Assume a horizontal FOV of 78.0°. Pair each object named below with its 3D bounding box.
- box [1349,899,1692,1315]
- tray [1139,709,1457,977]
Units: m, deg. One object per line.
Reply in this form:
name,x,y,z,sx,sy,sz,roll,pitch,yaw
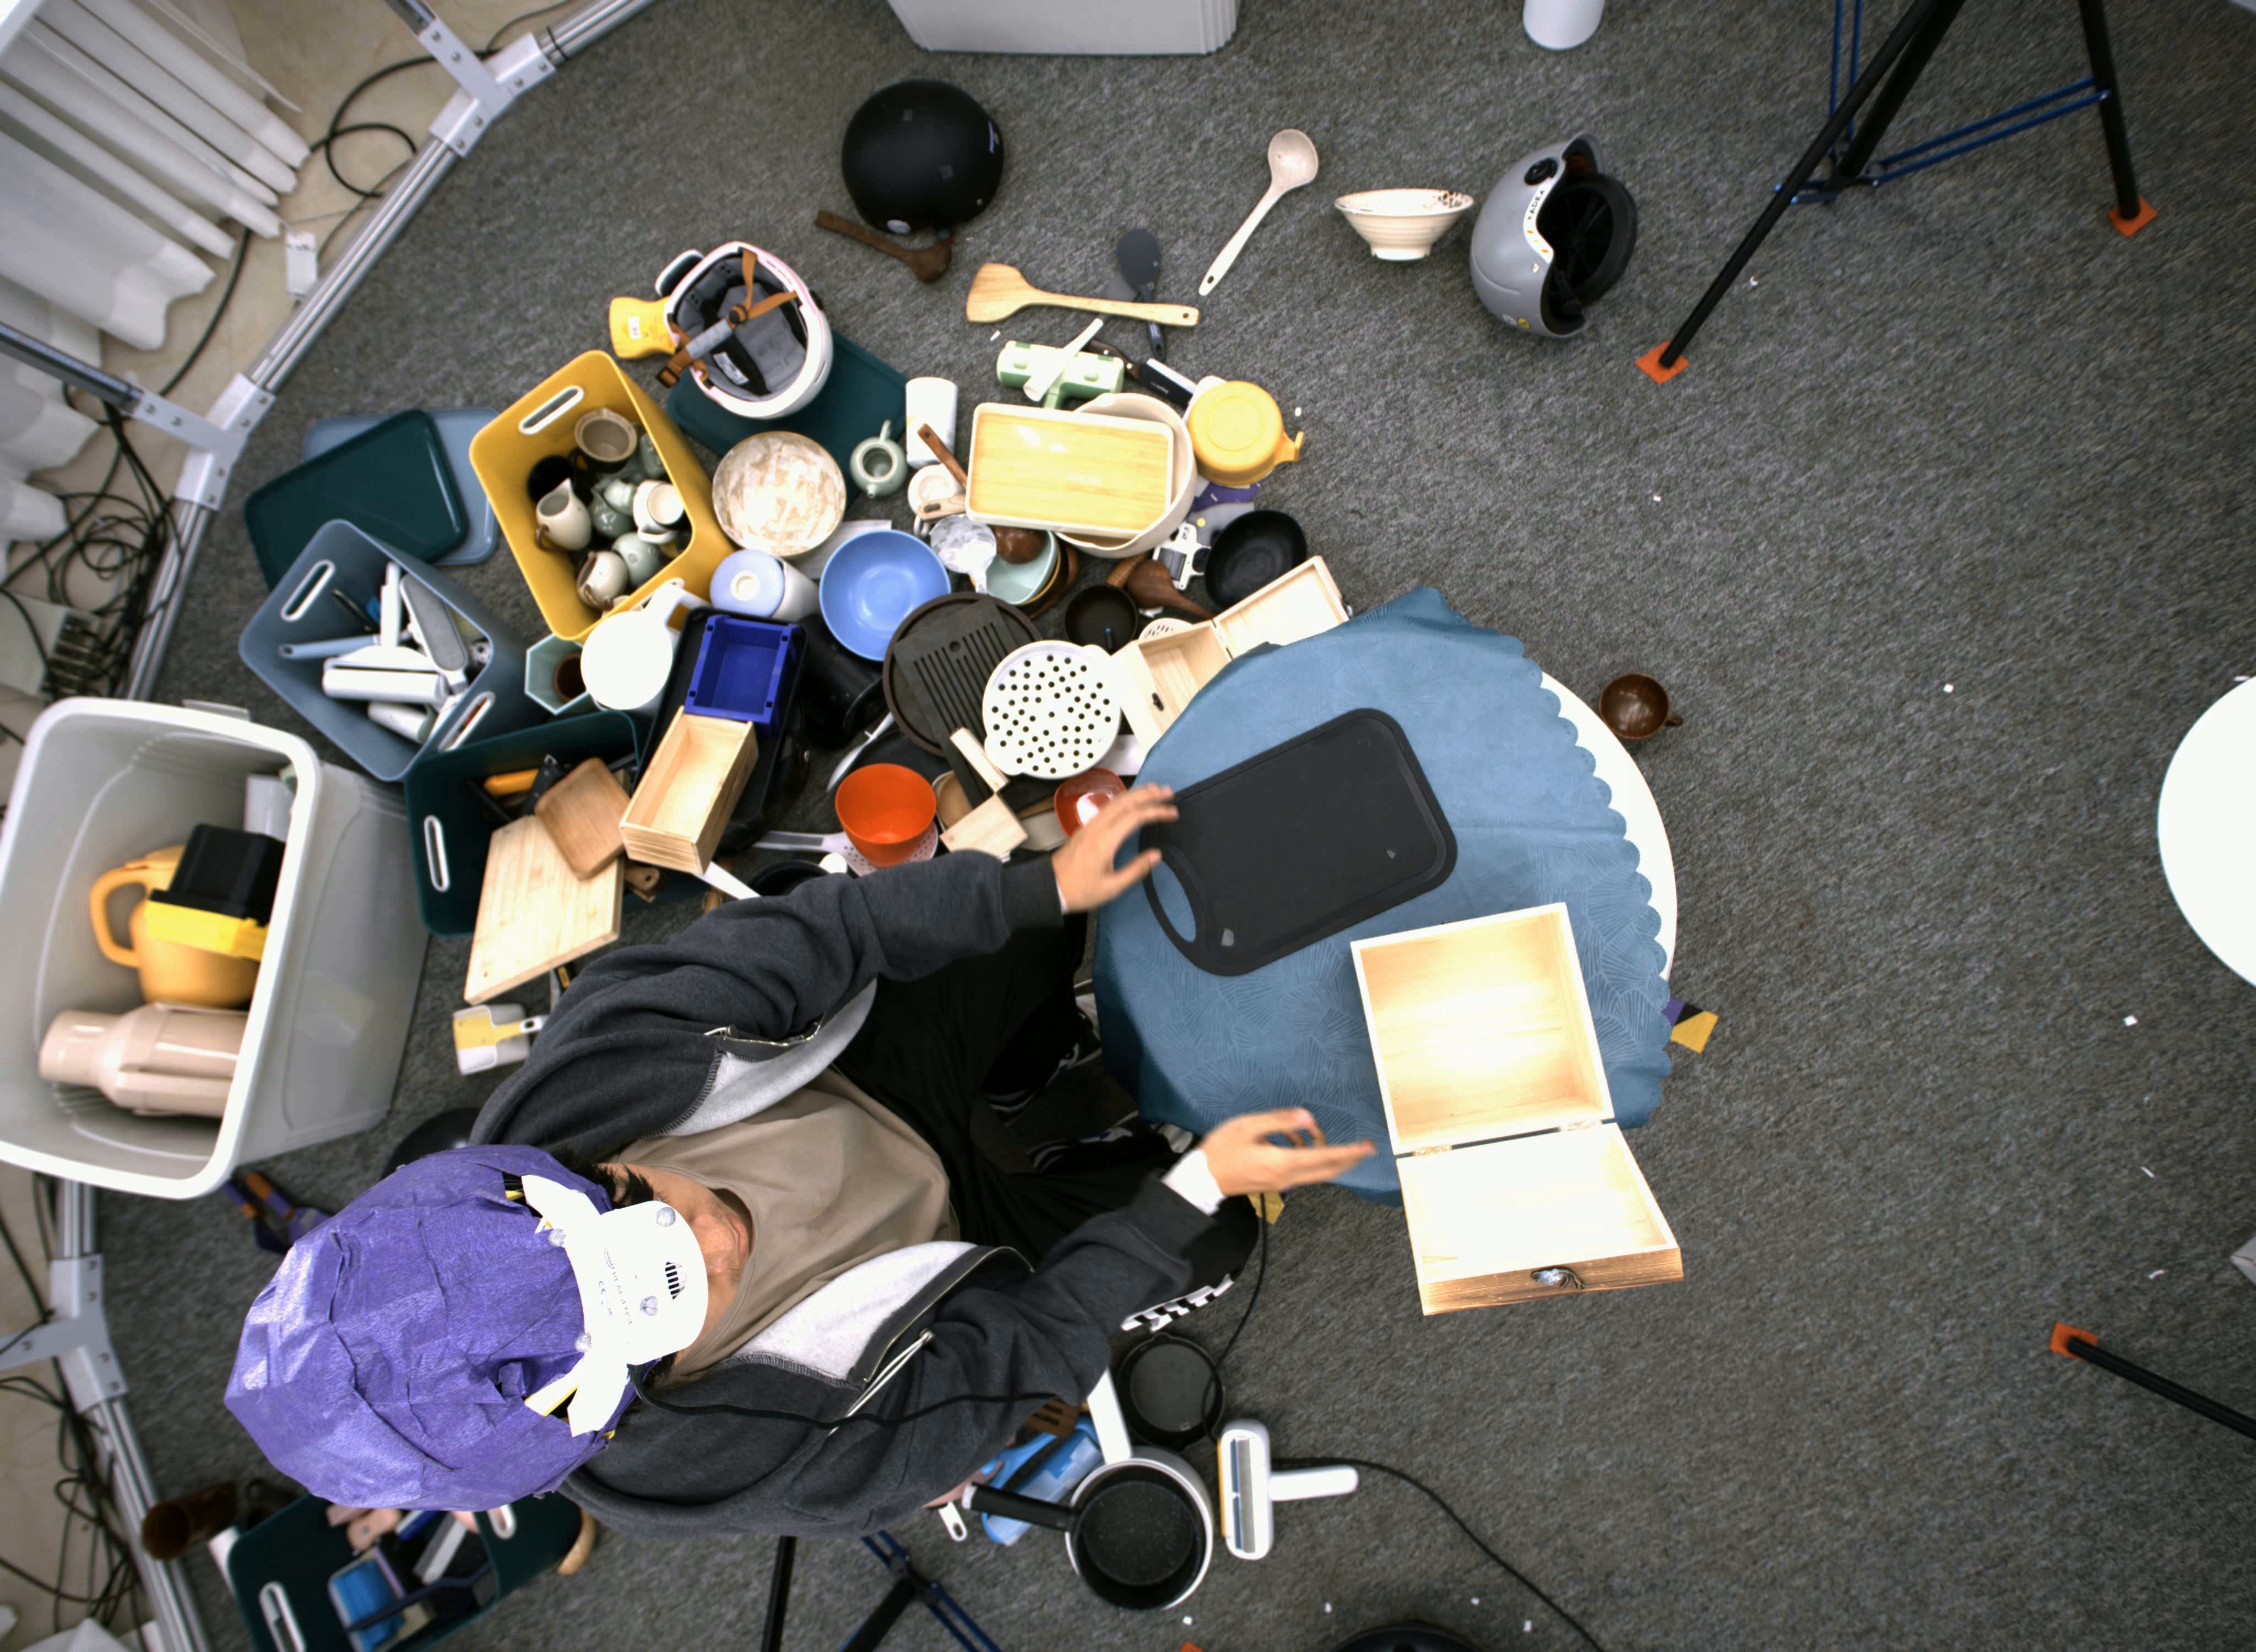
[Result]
box,0.335,0.233,1.256,0.210,0.376,0.320,-12,83,8
tray,0.173,0.022,1.477,0.327,0.010,0.210,-26,83,8
